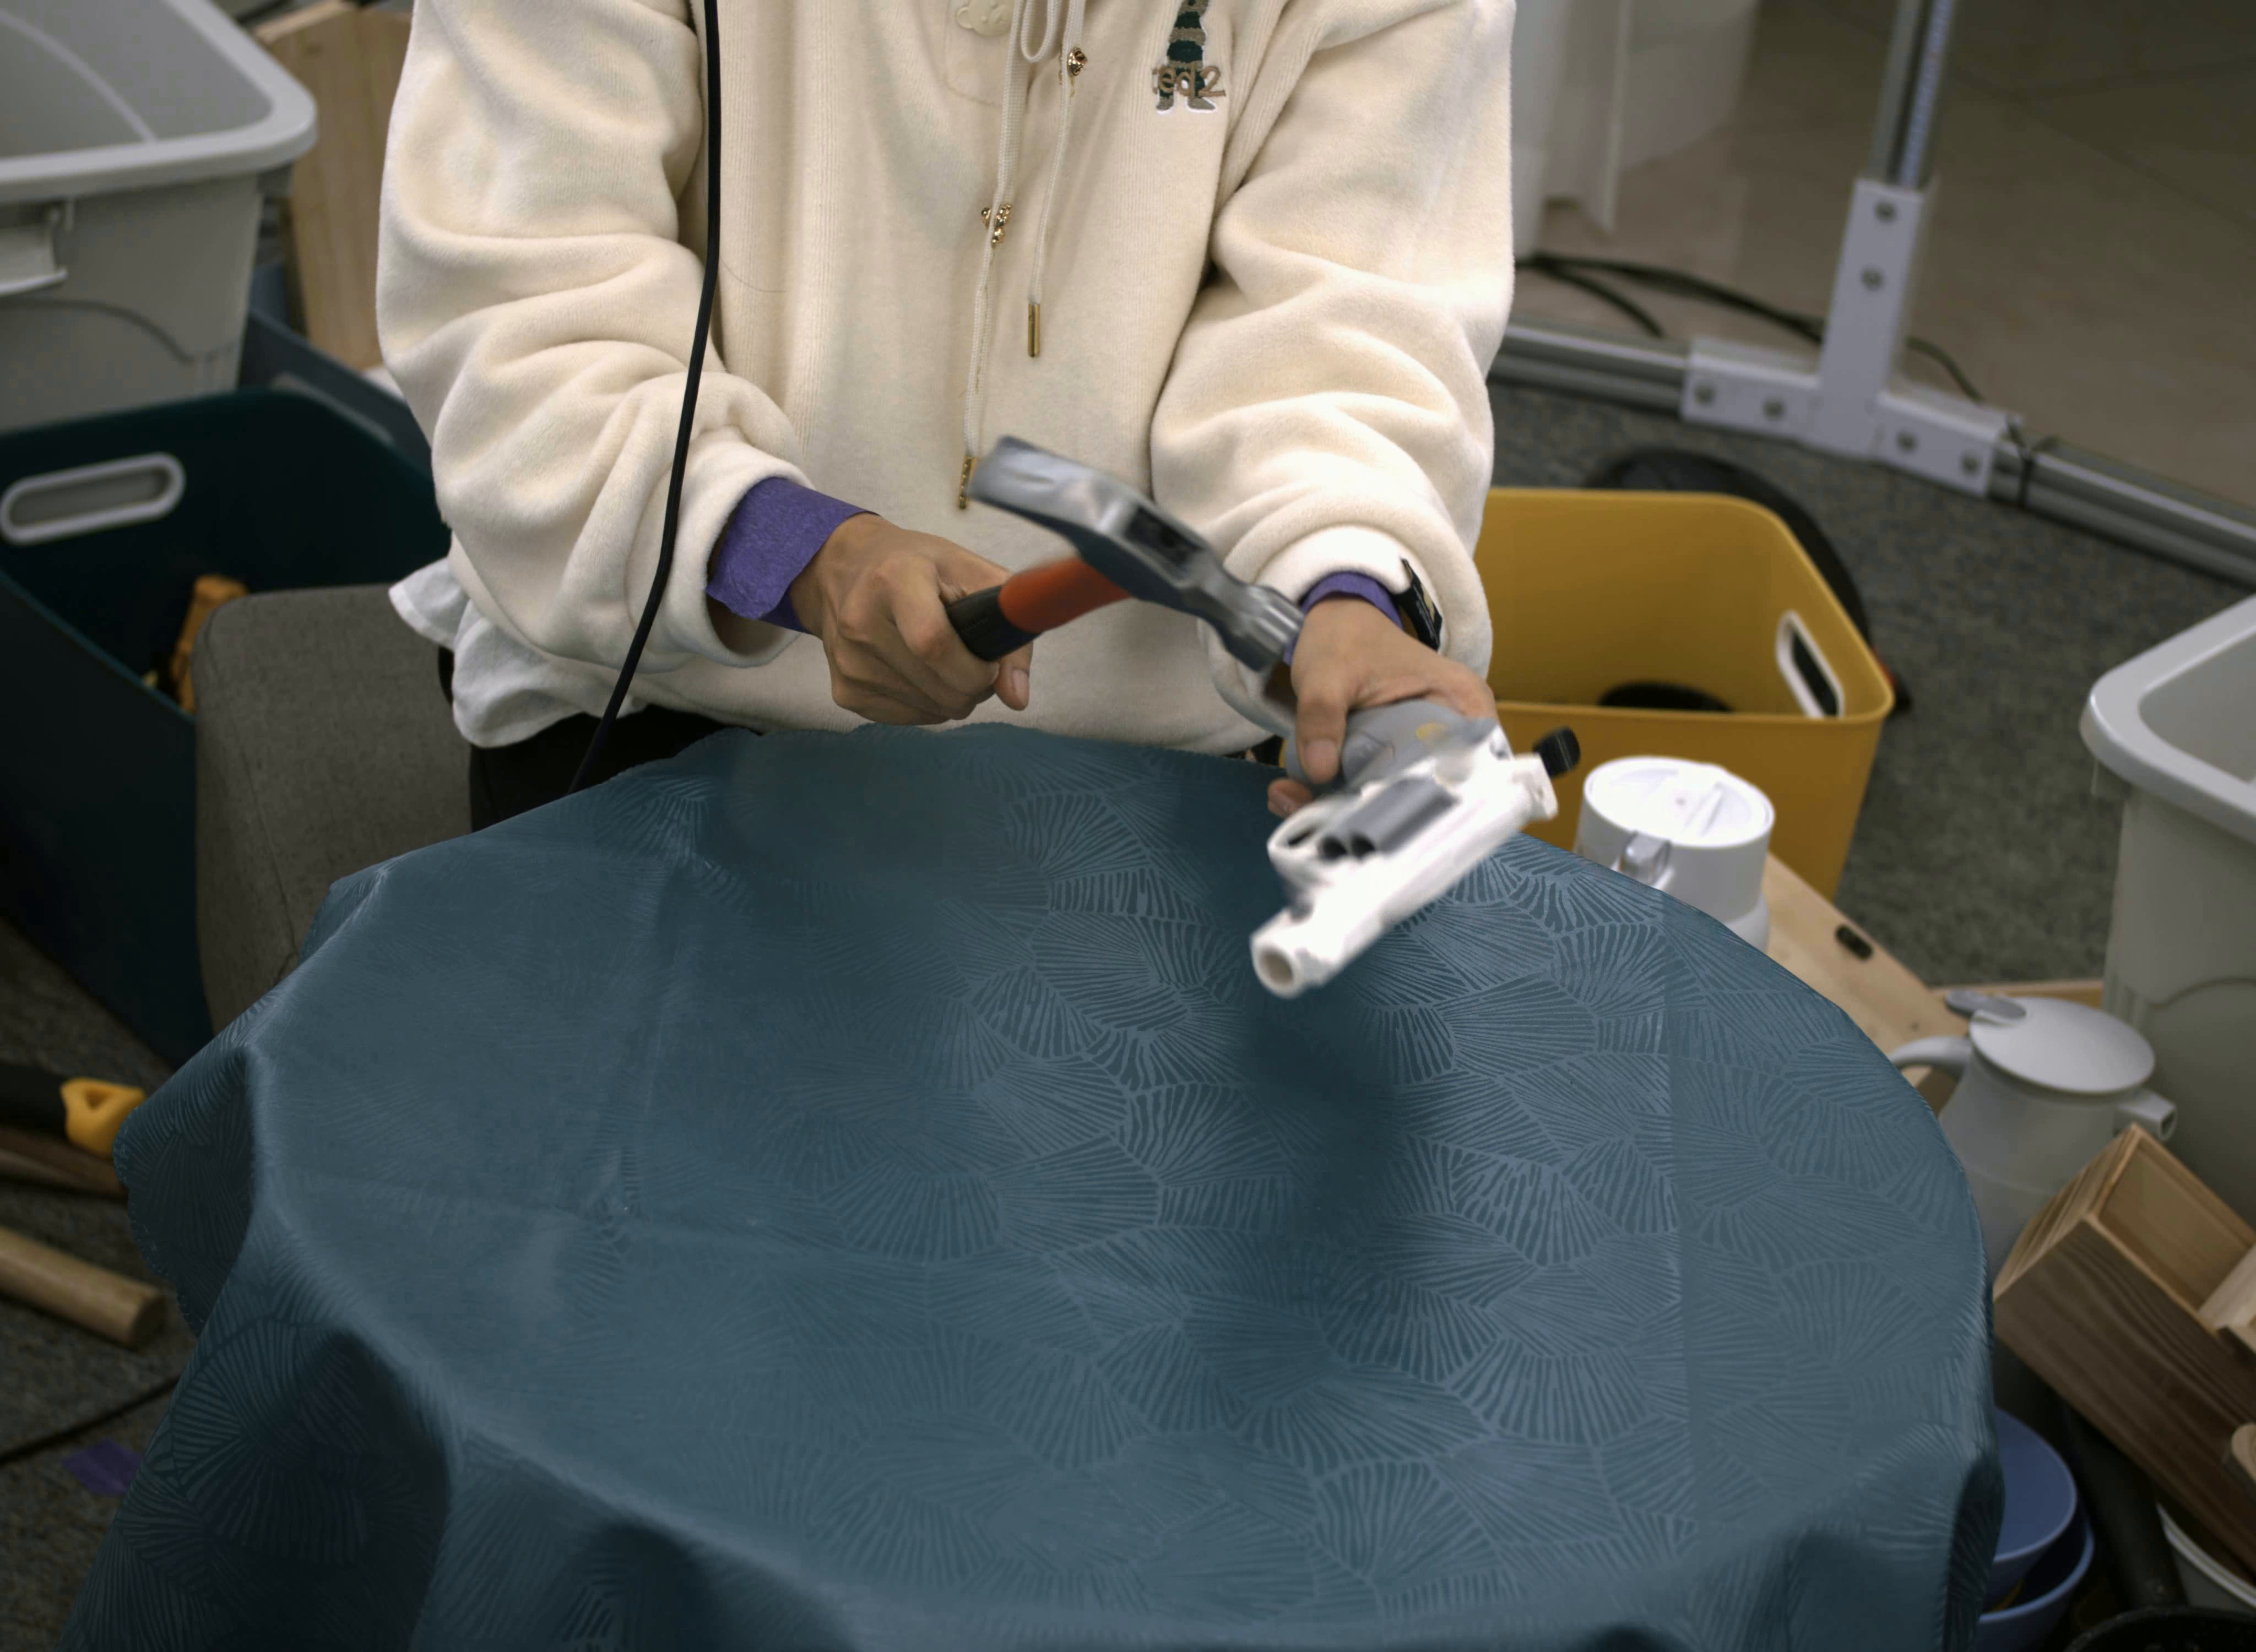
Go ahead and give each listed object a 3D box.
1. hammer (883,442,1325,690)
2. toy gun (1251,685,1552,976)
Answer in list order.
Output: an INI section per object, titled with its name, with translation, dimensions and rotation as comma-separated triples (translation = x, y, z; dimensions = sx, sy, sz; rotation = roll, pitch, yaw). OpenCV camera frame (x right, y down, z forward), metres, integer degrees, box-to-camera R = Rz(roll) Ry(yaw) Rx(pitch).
[hammer]
translation = -0.031, -0.079, 1.831
dimensions = 0.110, 0.026, 0.278
rotation = 28, -15, -15
[toy gun]
translation = 0.072, -0.002, 1.807
dimensions = 0.142, 0.039, 0.209
rotation = -5, 22, 41
